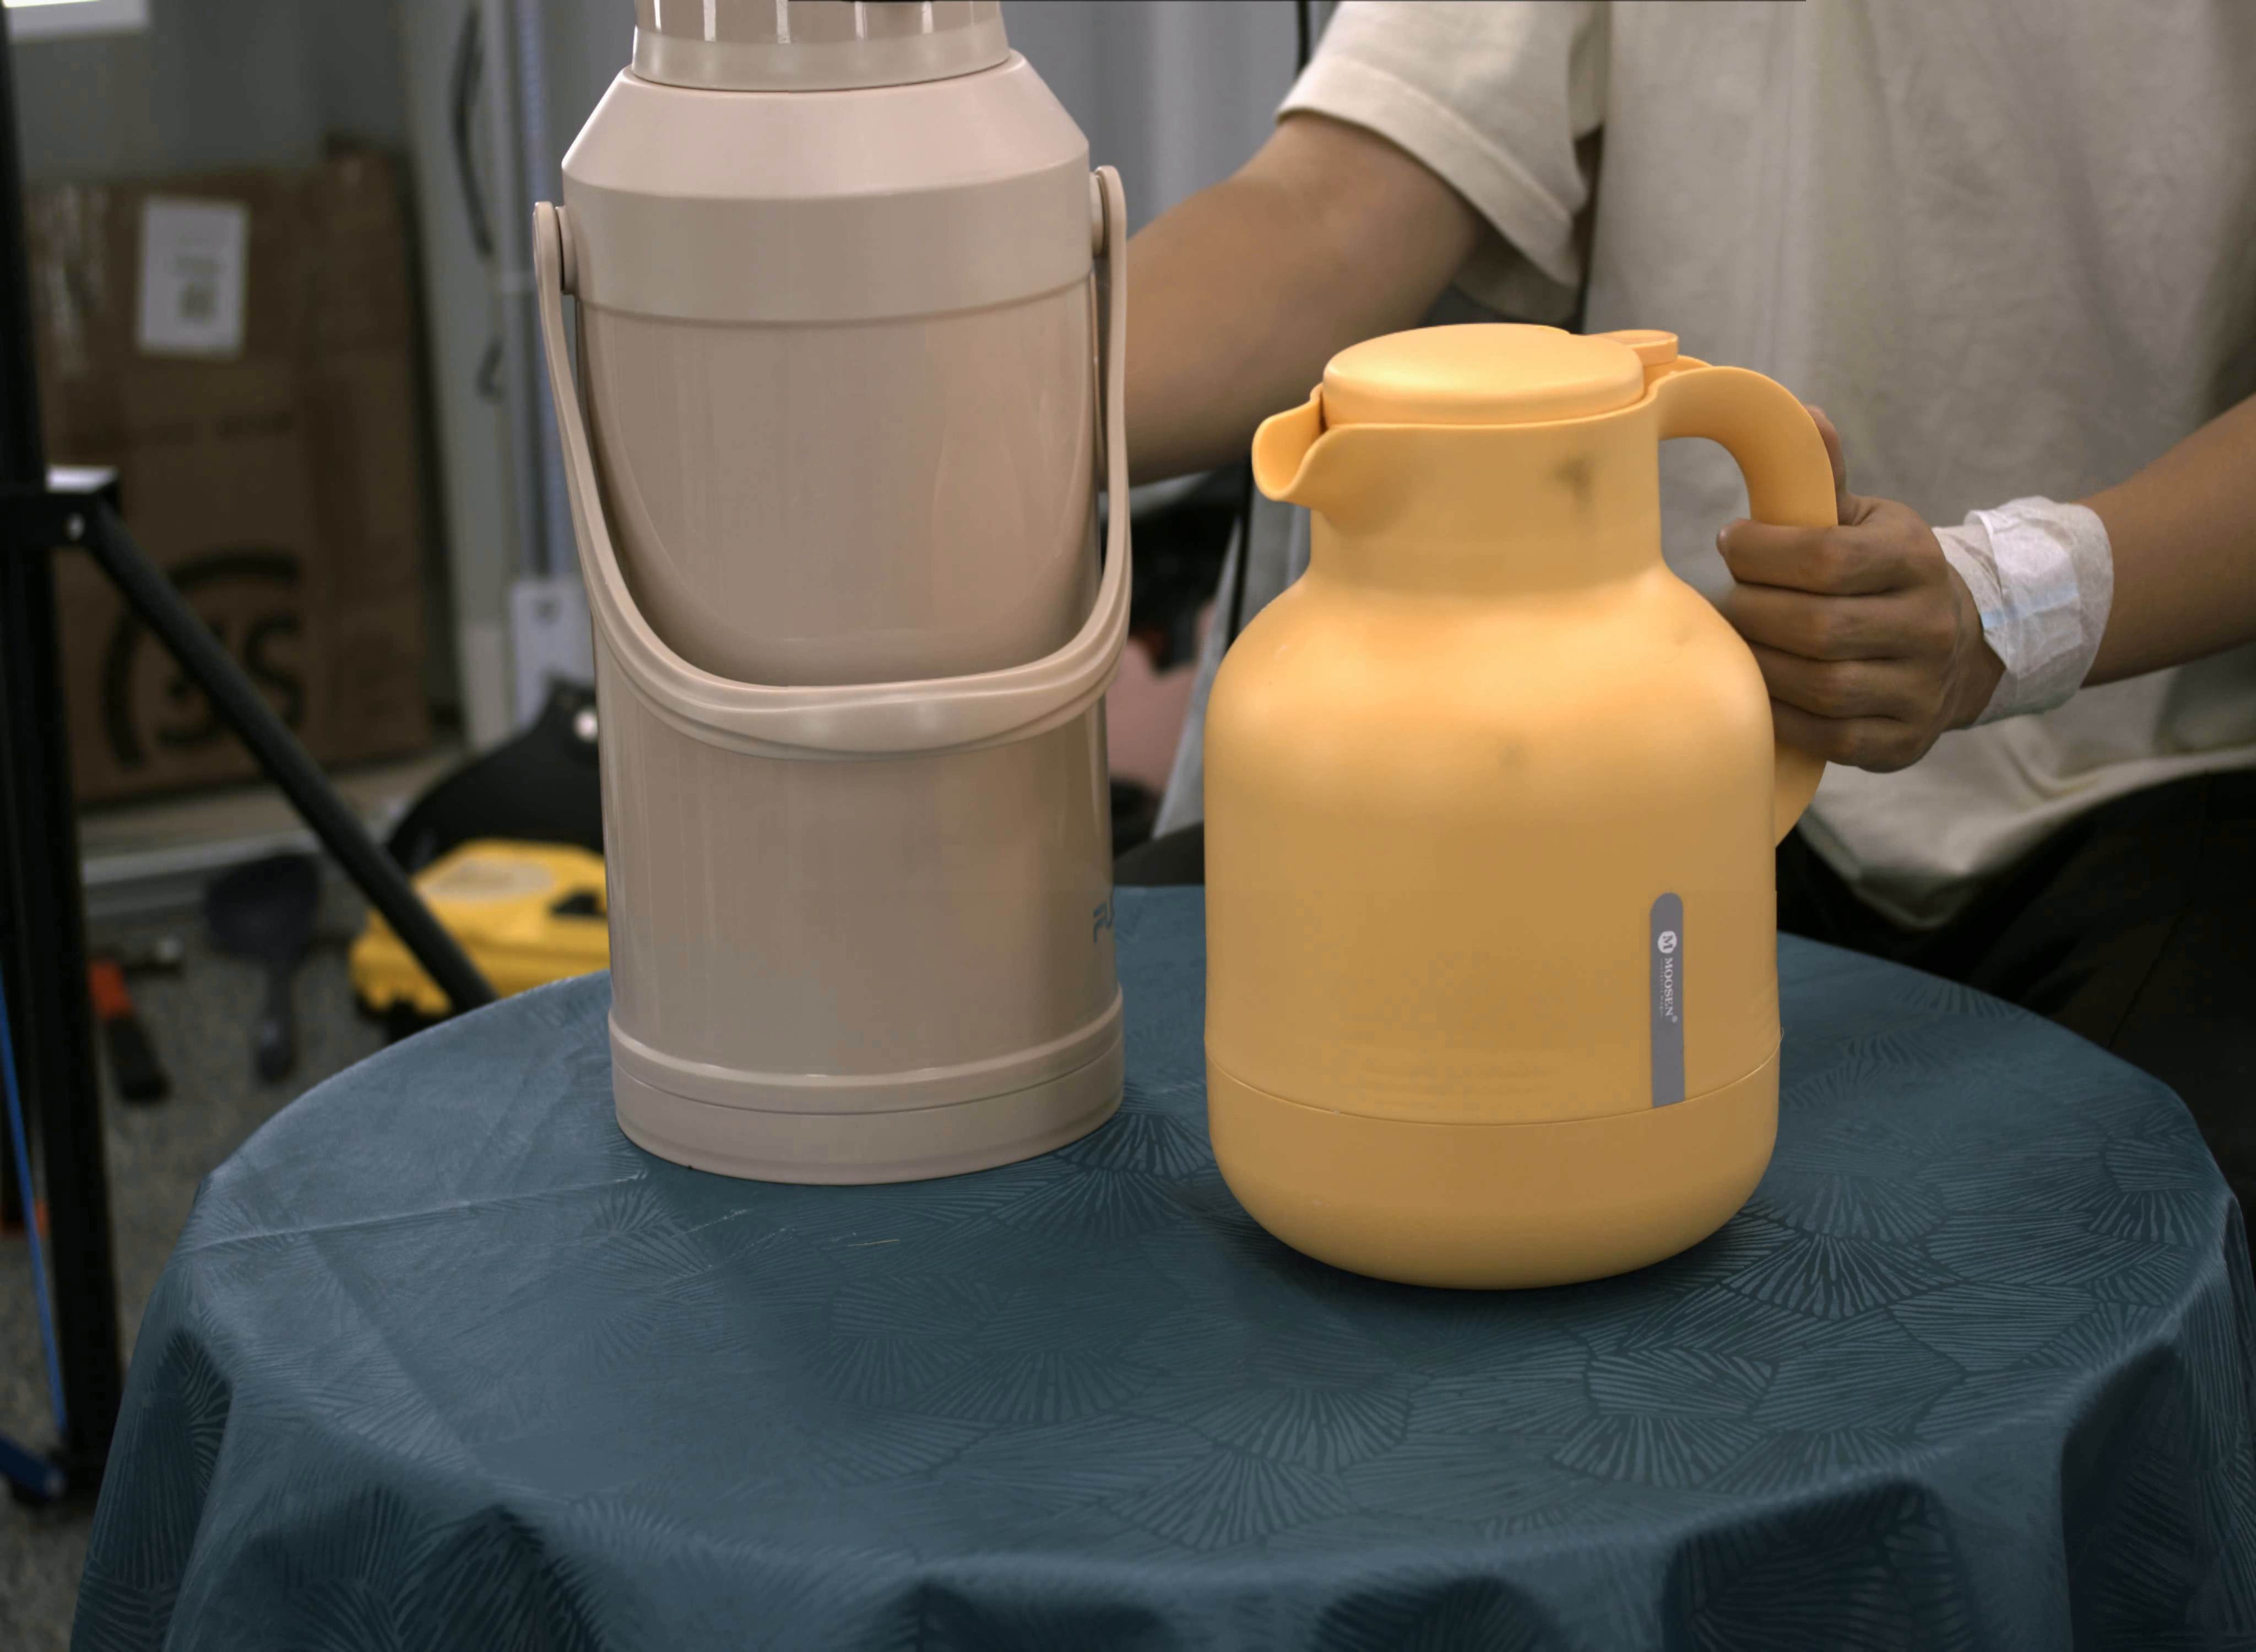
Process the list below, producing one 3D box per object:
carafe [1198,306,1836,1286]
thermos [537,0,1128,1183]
[{"bbox_3d":[0.117,-0.015,1.492,0.198,0.260,0.167,-12,20,-30],"label":"carafe"},{"bbox_3d":[-0.087,-0.110,1.615,0.173,0.406,0.209,-5,16,-9],"label":"thermos"}]
